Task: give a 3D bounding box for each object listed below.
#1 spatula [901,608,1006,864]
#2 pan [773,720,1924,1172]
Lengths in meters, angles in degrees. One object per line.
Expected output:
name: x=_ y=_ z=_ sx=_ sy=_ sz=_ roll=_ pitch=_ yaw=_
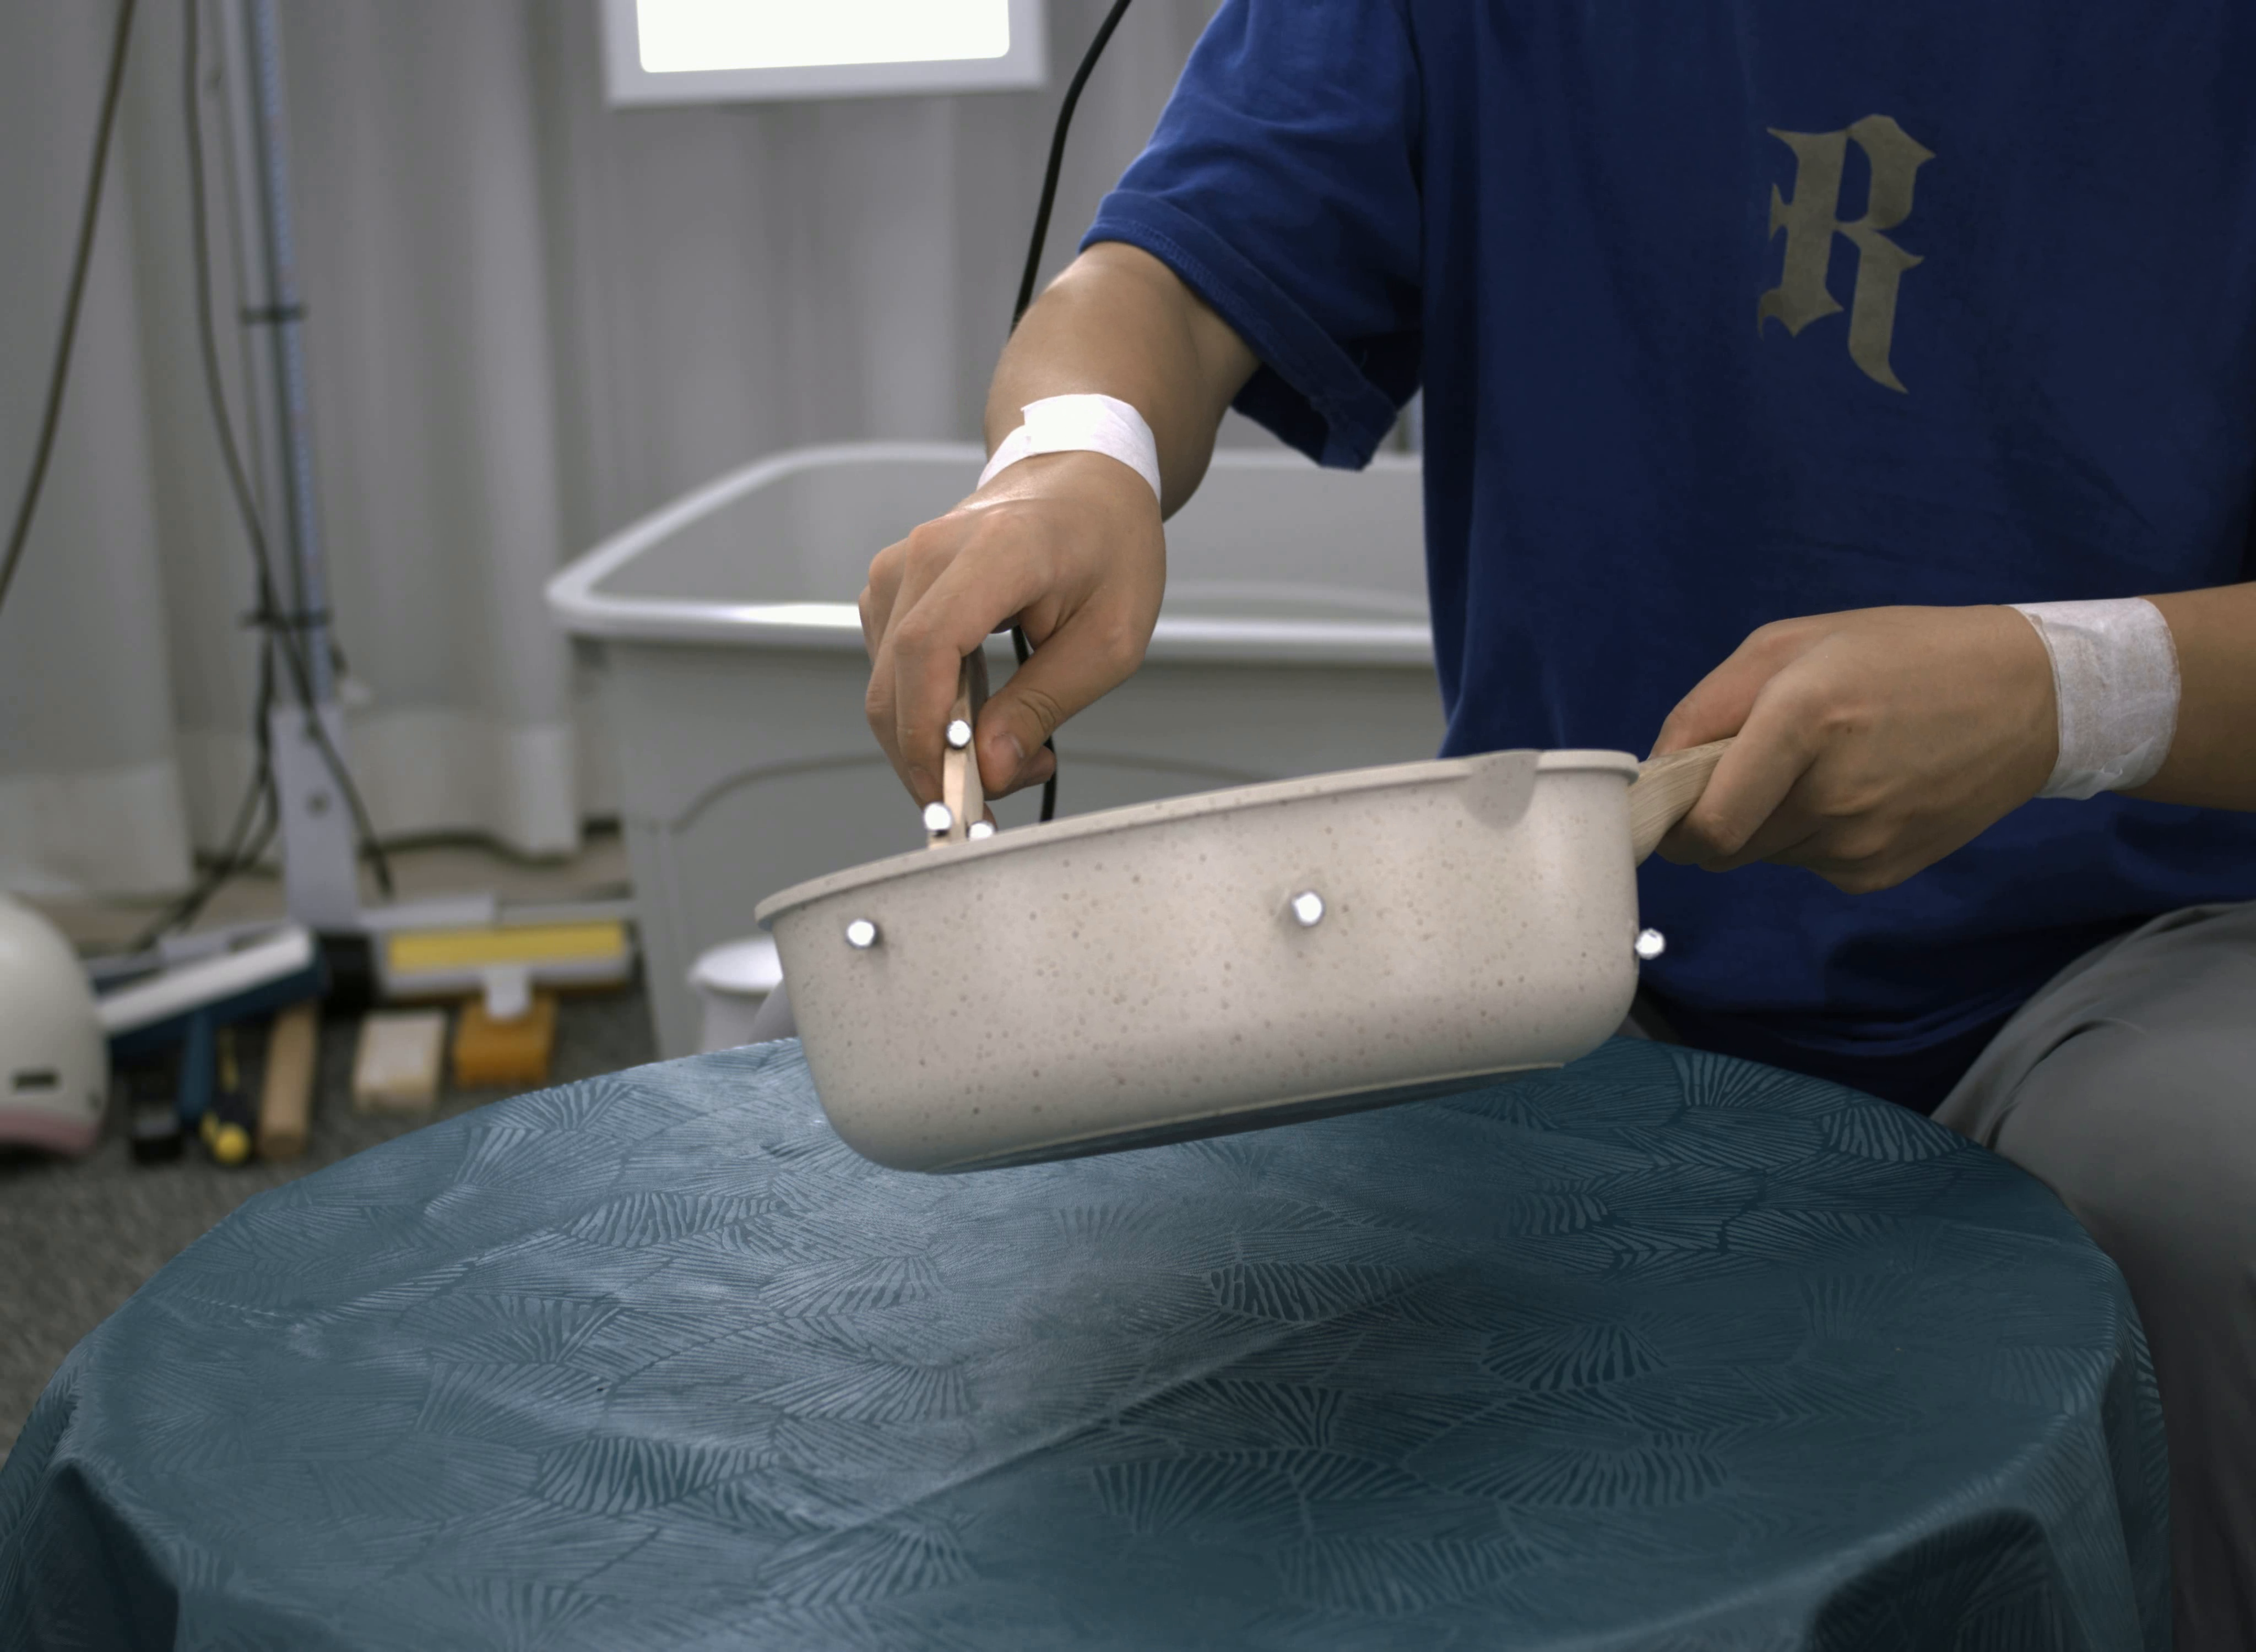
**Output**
spatula: x=-0.049 y=-0.009 z=1.604 sx=0.010 sy=0.072 sz=0.295 roll=-11 pitch=19 yaw=5
pan: x=0.097 y=0.027 z=1.584 sx=0.432 sy=0.102 sz=0.263 roll=-4 pitch=-10 yaw=-42
